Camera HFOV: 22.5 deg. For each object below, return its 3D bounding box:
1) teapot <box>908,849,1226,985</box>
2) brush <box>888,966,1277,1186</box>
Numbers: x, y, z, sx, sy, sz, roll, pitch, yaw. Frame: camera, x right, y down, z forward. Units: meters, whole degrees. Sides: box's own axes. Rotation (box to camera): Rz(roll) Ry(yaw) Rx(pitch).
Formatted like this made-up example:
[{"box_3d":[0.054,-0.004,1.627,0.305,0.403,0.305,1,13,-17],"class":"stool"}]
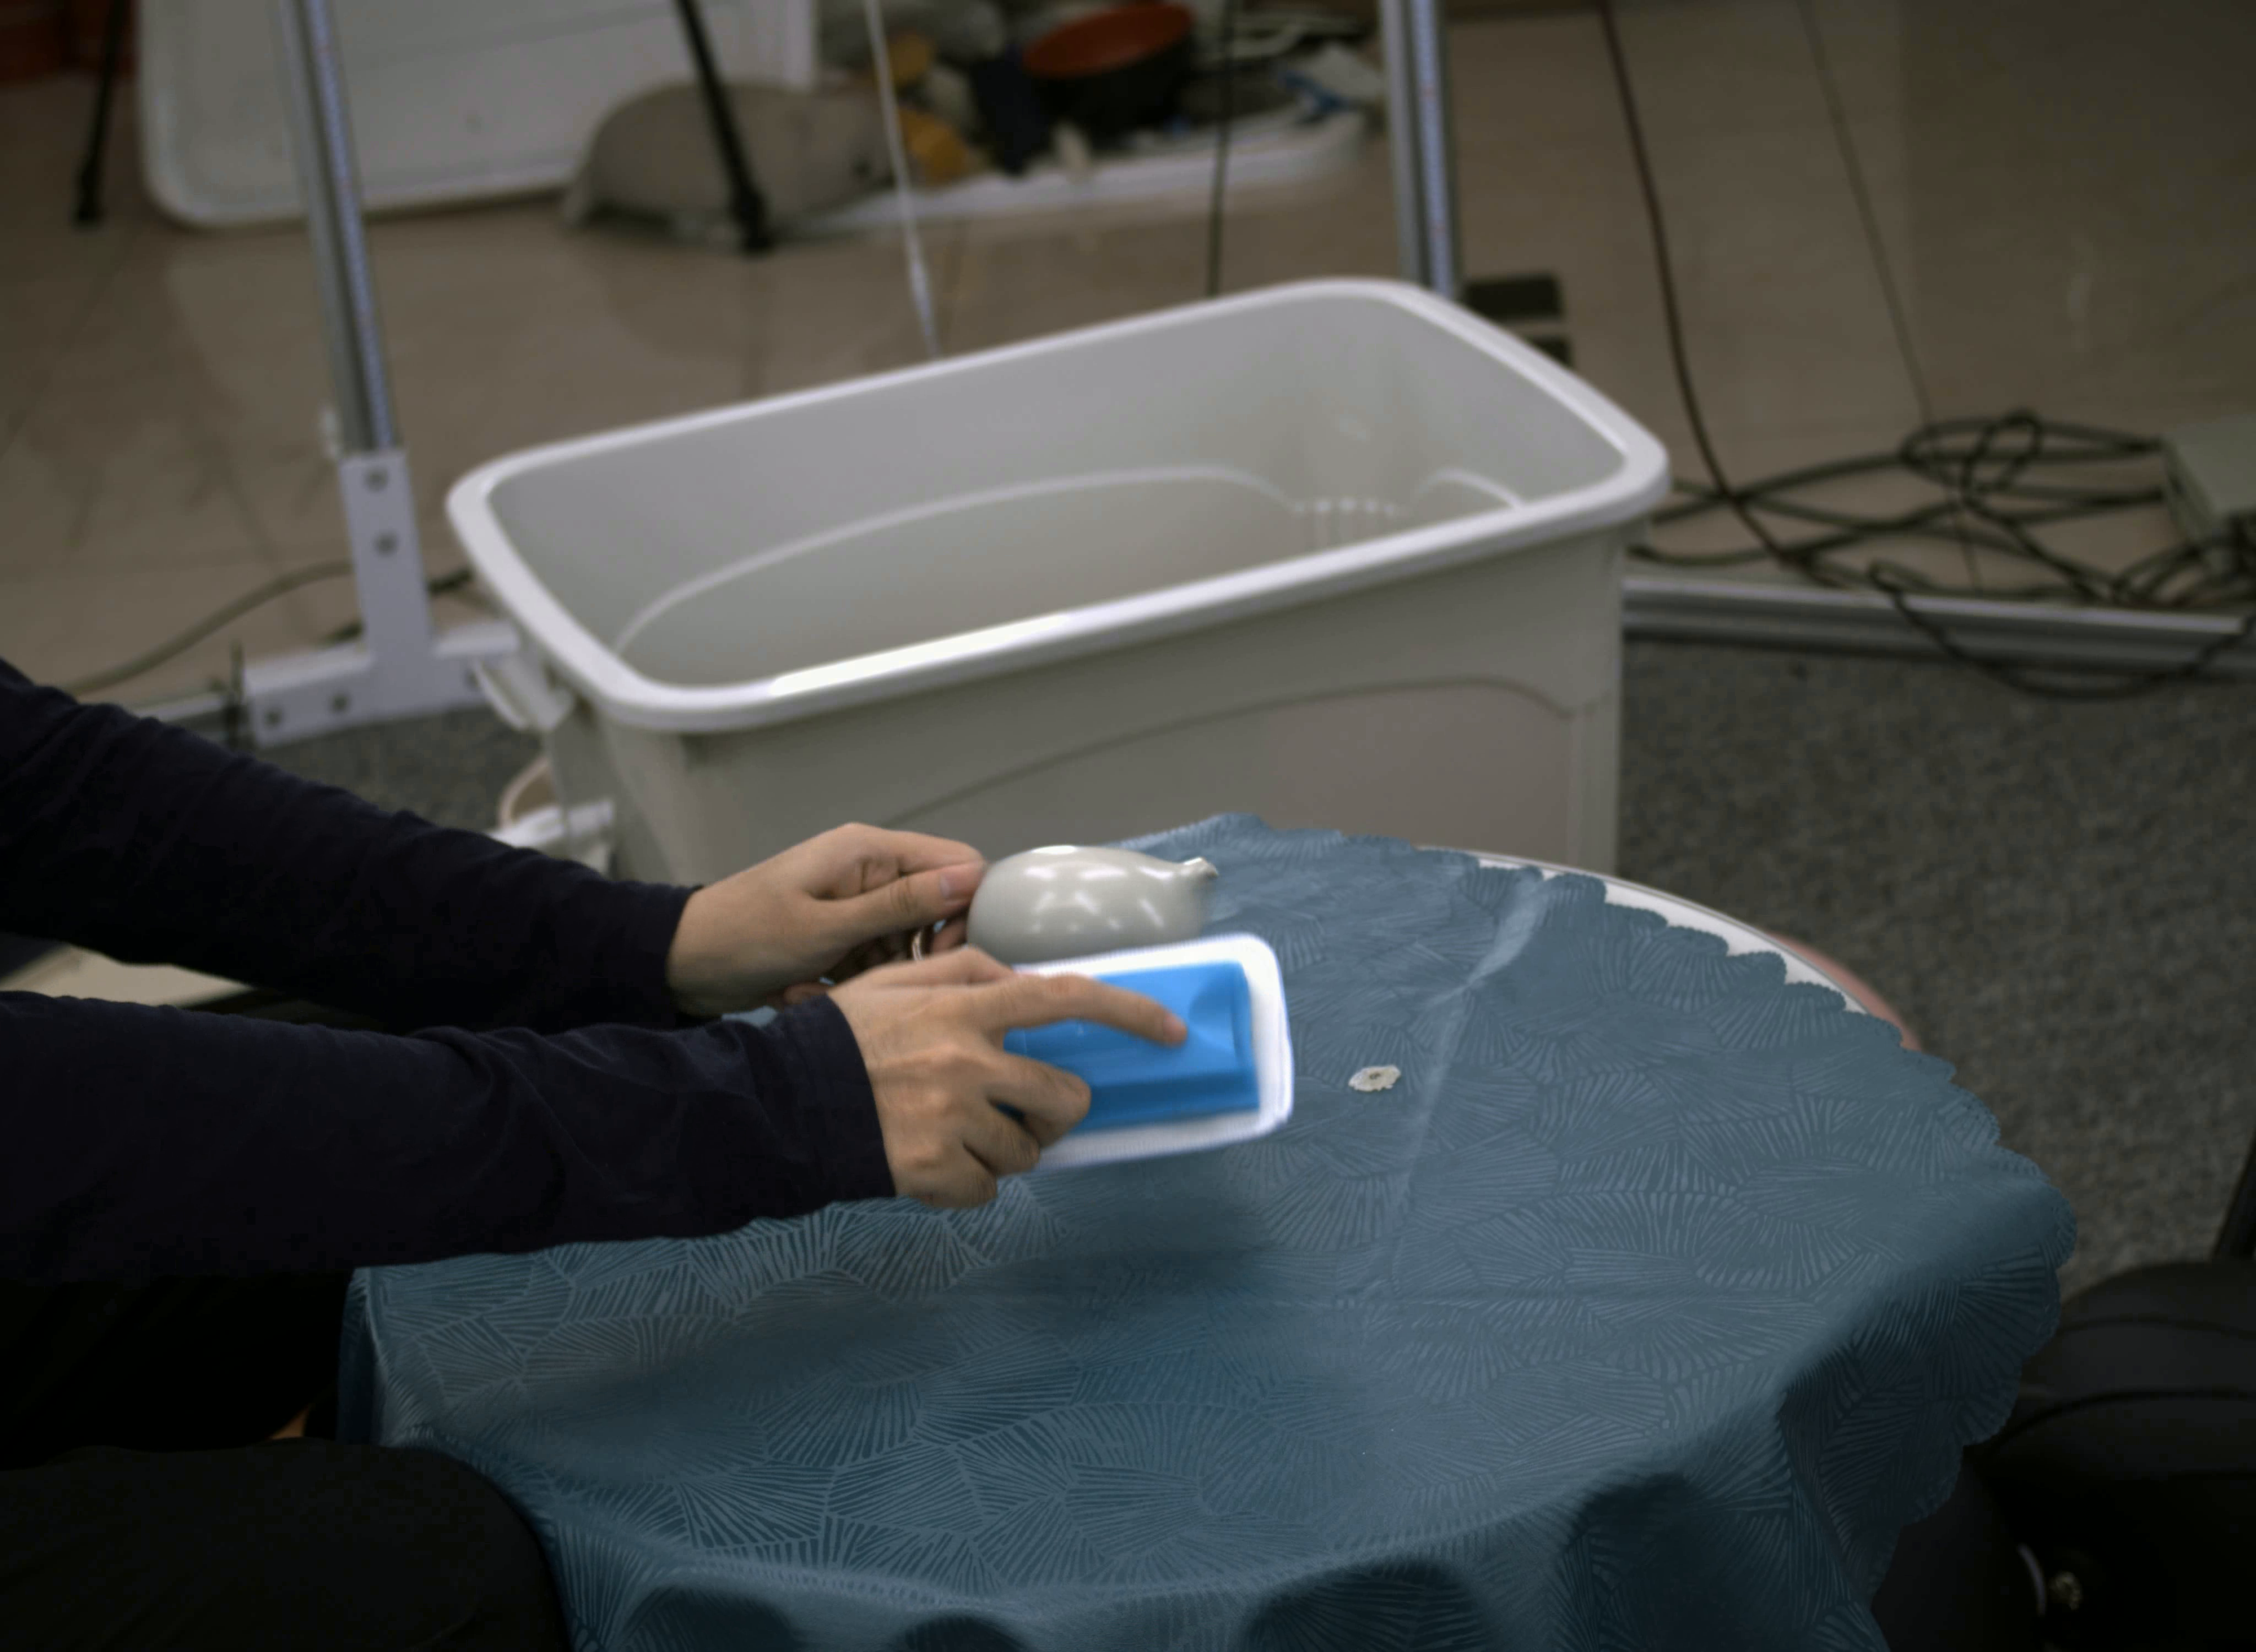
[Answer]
[{"box_3d":[-0.025,0.043,2.209,0.128,0.059,0.092,-1,-11,15],"class":"teapot"},{"box_3d":[-0.018,0.084,2.074,0.144,0.056,0.083,-4,67,4],"class":"brush"}]
